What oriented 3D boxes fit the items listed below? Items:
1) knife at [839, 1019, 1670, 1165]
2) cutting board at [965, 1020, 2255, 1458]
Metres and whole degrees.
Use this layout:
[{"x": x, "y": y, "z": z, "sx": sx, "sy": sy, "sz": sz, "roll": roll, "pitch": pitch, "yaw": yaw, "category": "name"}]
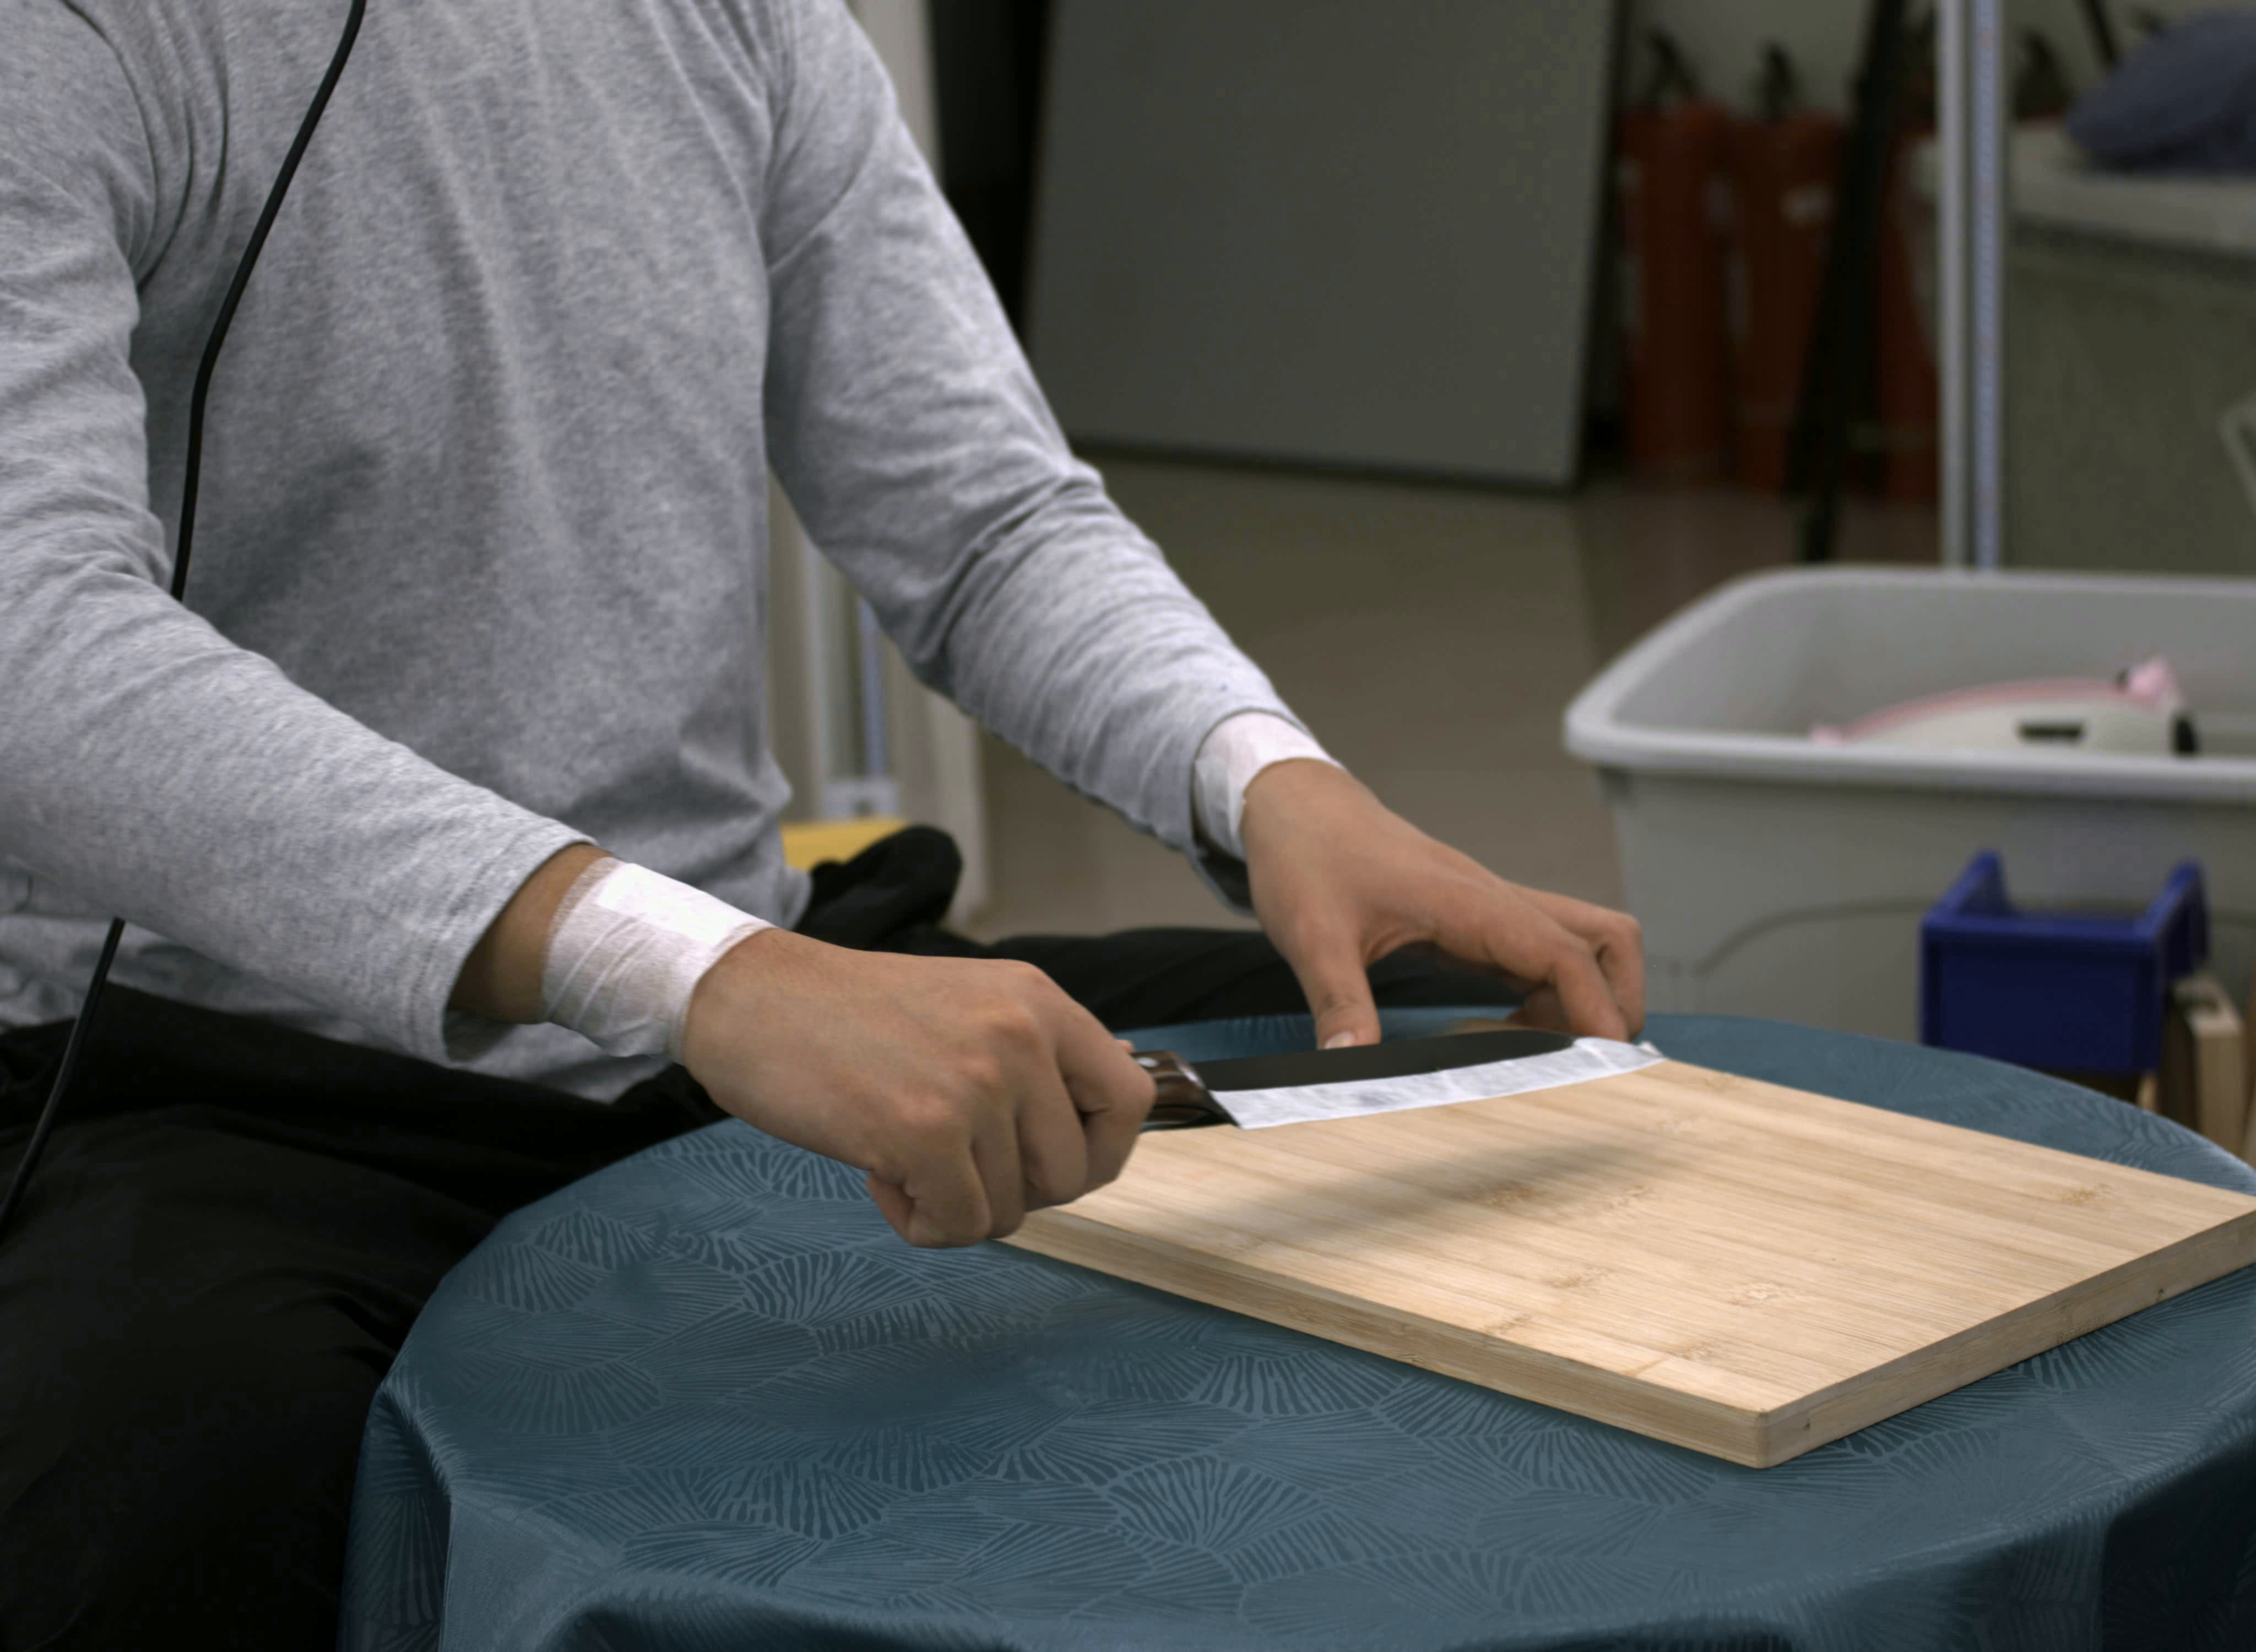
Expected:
[{"x": 0.045, "y": 0.080, "z": 1.659, "sx": 0.282, "sy": 0.020, "sz": 0.051, "roll": -4, "pitch": 27, "yaw": -25, "category": "knife"}, {"x": 0.147, "y": 0.123, "z": 1.690, "sx": 0.245, "sy": 0.024, "sz": 0.352, "roll": -15, "pitch": 17, "yaw": -40, "category": "cutting board"}]
